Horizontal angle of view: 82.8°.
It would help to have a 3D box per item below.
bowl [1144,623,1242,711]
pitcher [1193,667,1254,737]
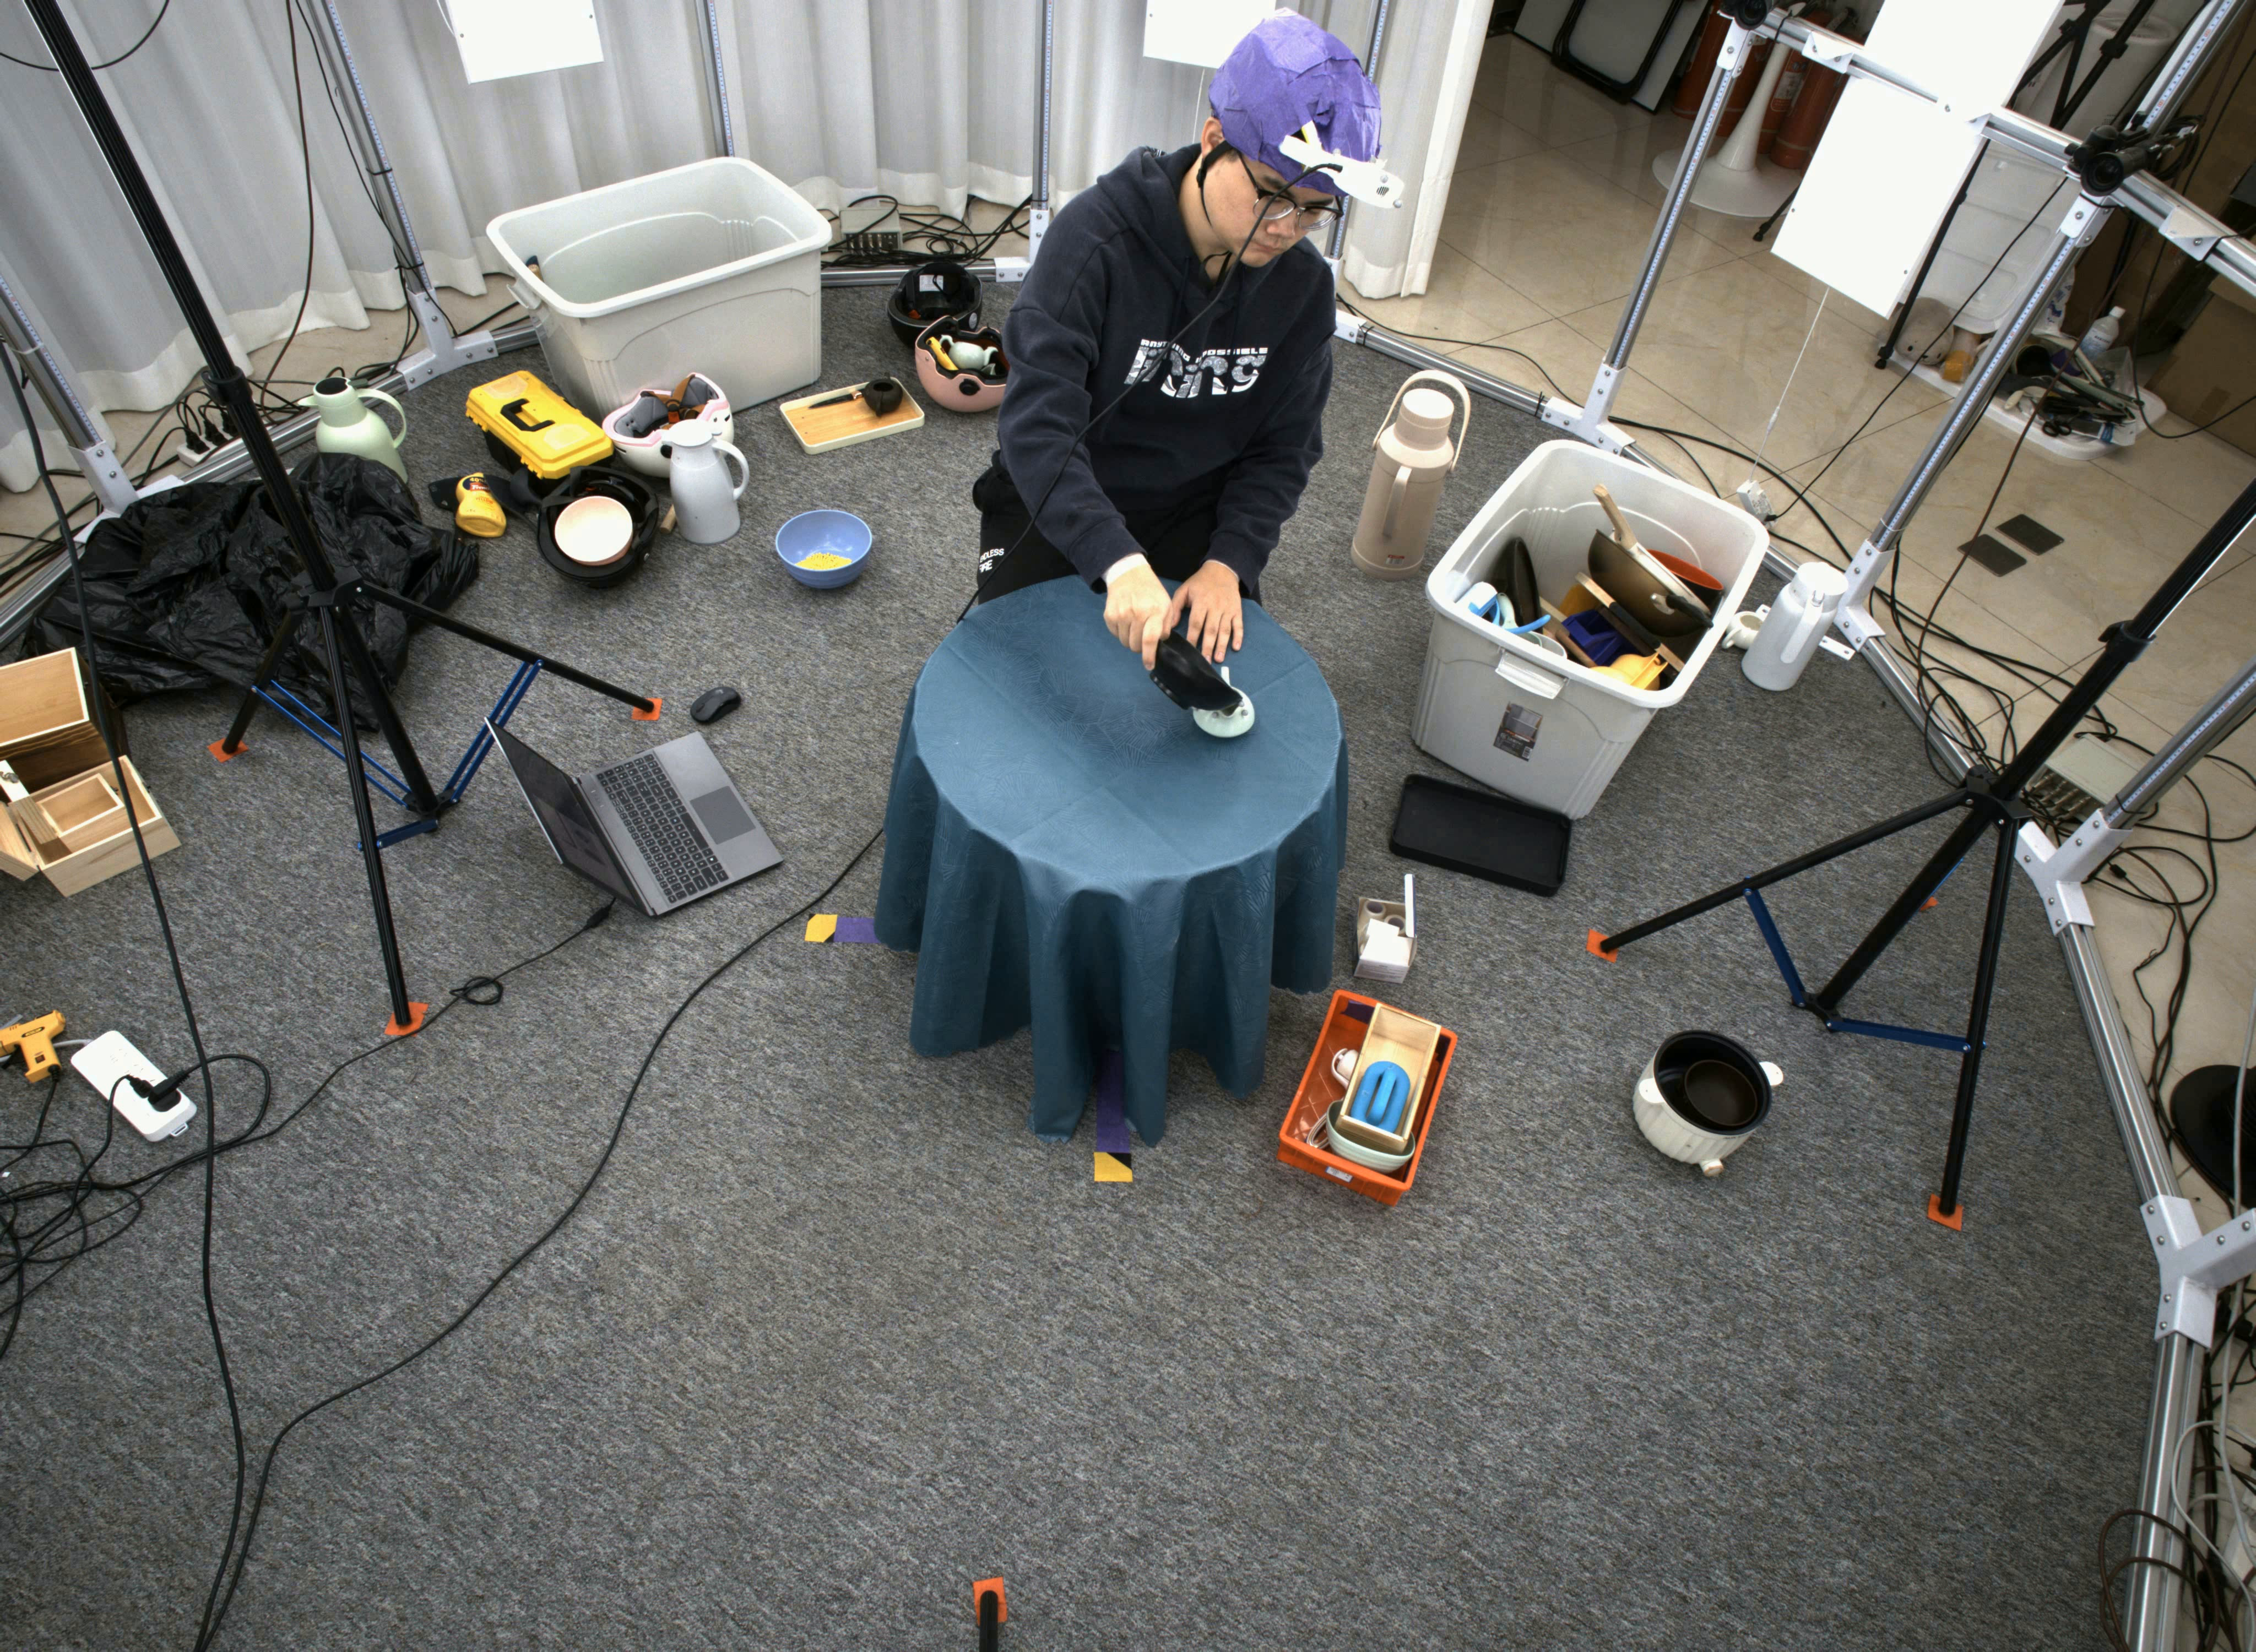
[{"bbox_3d":[0.075,-0.197,1.688,0.066,0.167,0.140,-48,51,12],"label":"bowl"},{"bbox_3d":[0.134,-0.171,1.788,0.086,0.059,0.111,2,48,-4],"label":"pitcher"}]
